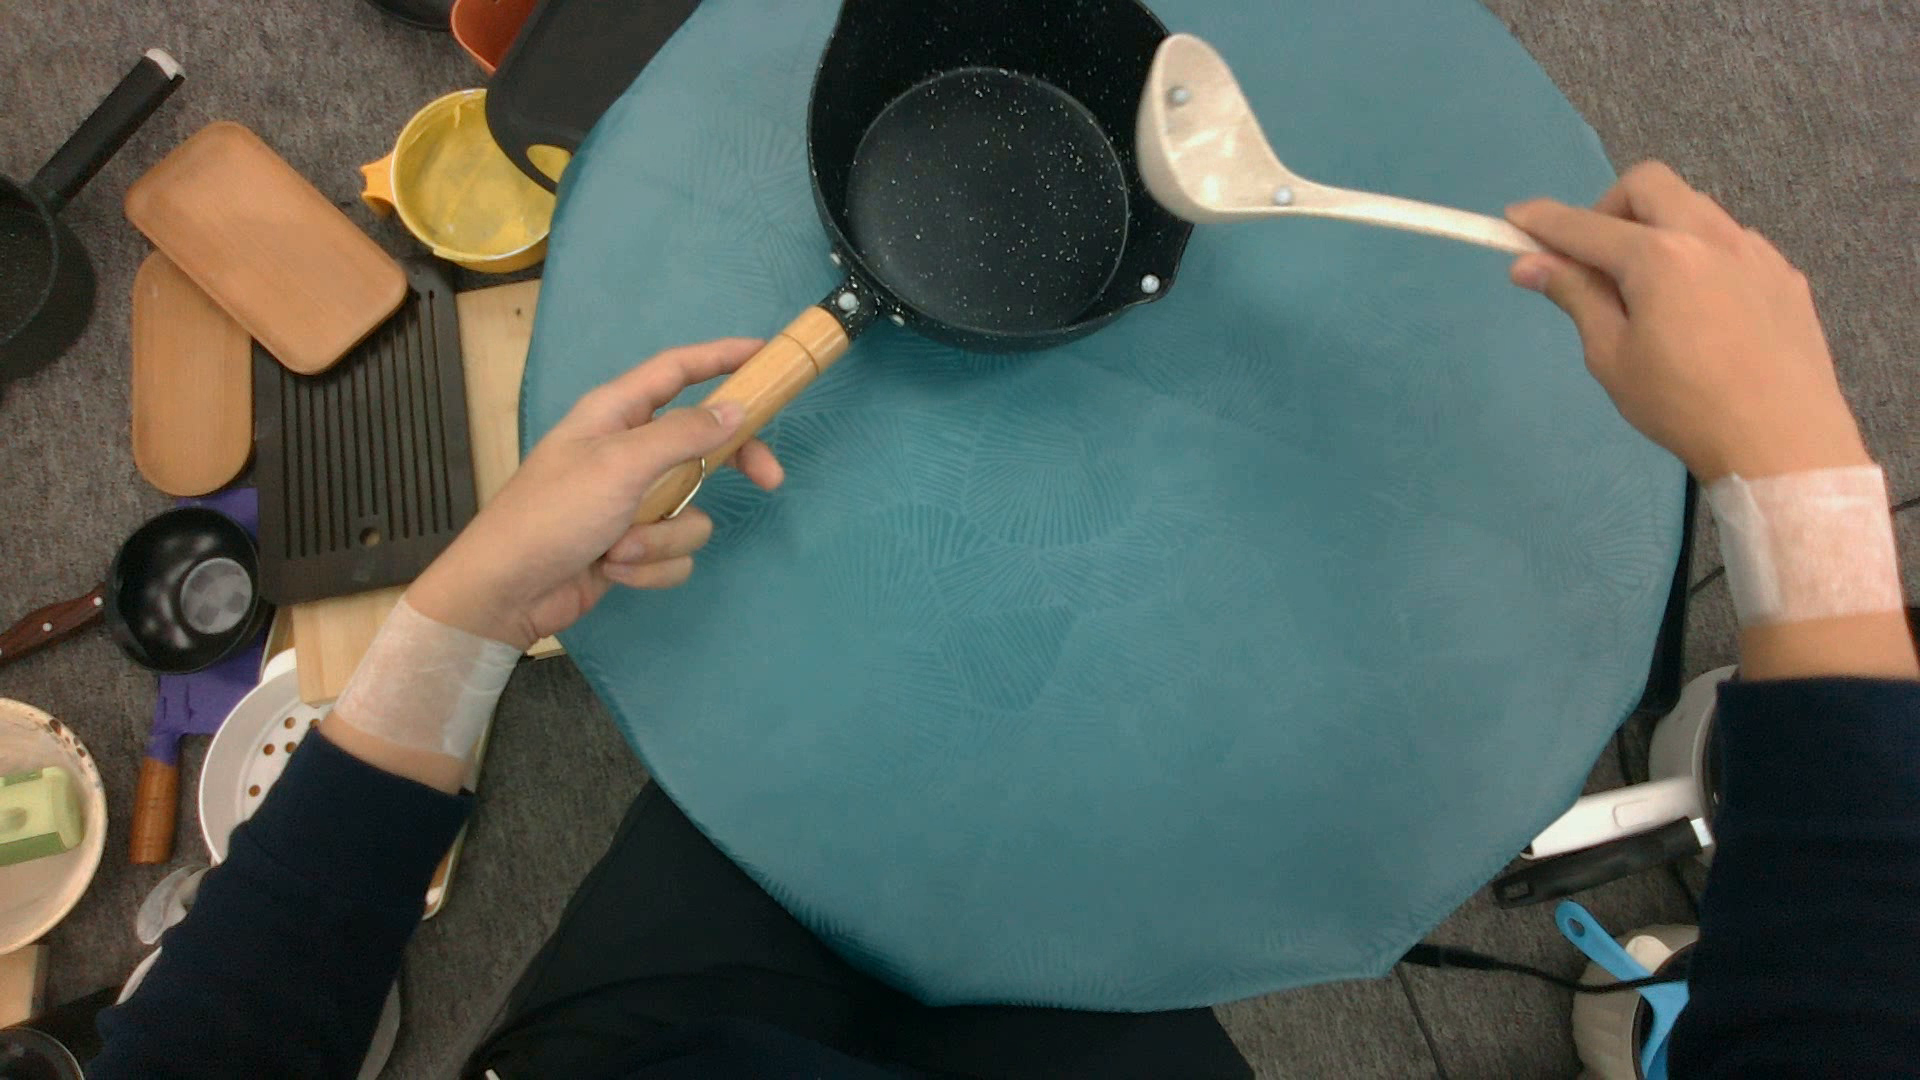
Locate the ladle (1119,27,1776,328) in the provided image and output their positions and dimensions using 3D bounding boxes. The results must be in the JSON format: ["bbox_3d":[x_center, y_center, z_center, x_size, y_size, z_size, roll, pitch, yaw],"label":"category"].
[{"bbox_3d":[0.198,-0.149,0.561,0.274,0.069,0.090,16,41,14],"label":"ladle"}]

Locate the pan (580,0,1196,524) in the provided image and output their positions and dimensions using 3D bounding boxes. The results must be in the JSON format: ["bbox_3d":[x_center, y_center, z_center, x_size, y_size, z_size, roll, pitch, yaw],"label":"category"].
[{"bbox_3d":[-0.039,-0.126,0.640,0.207,0.108,0.343,42,78,-1],"label":"pan"}]
